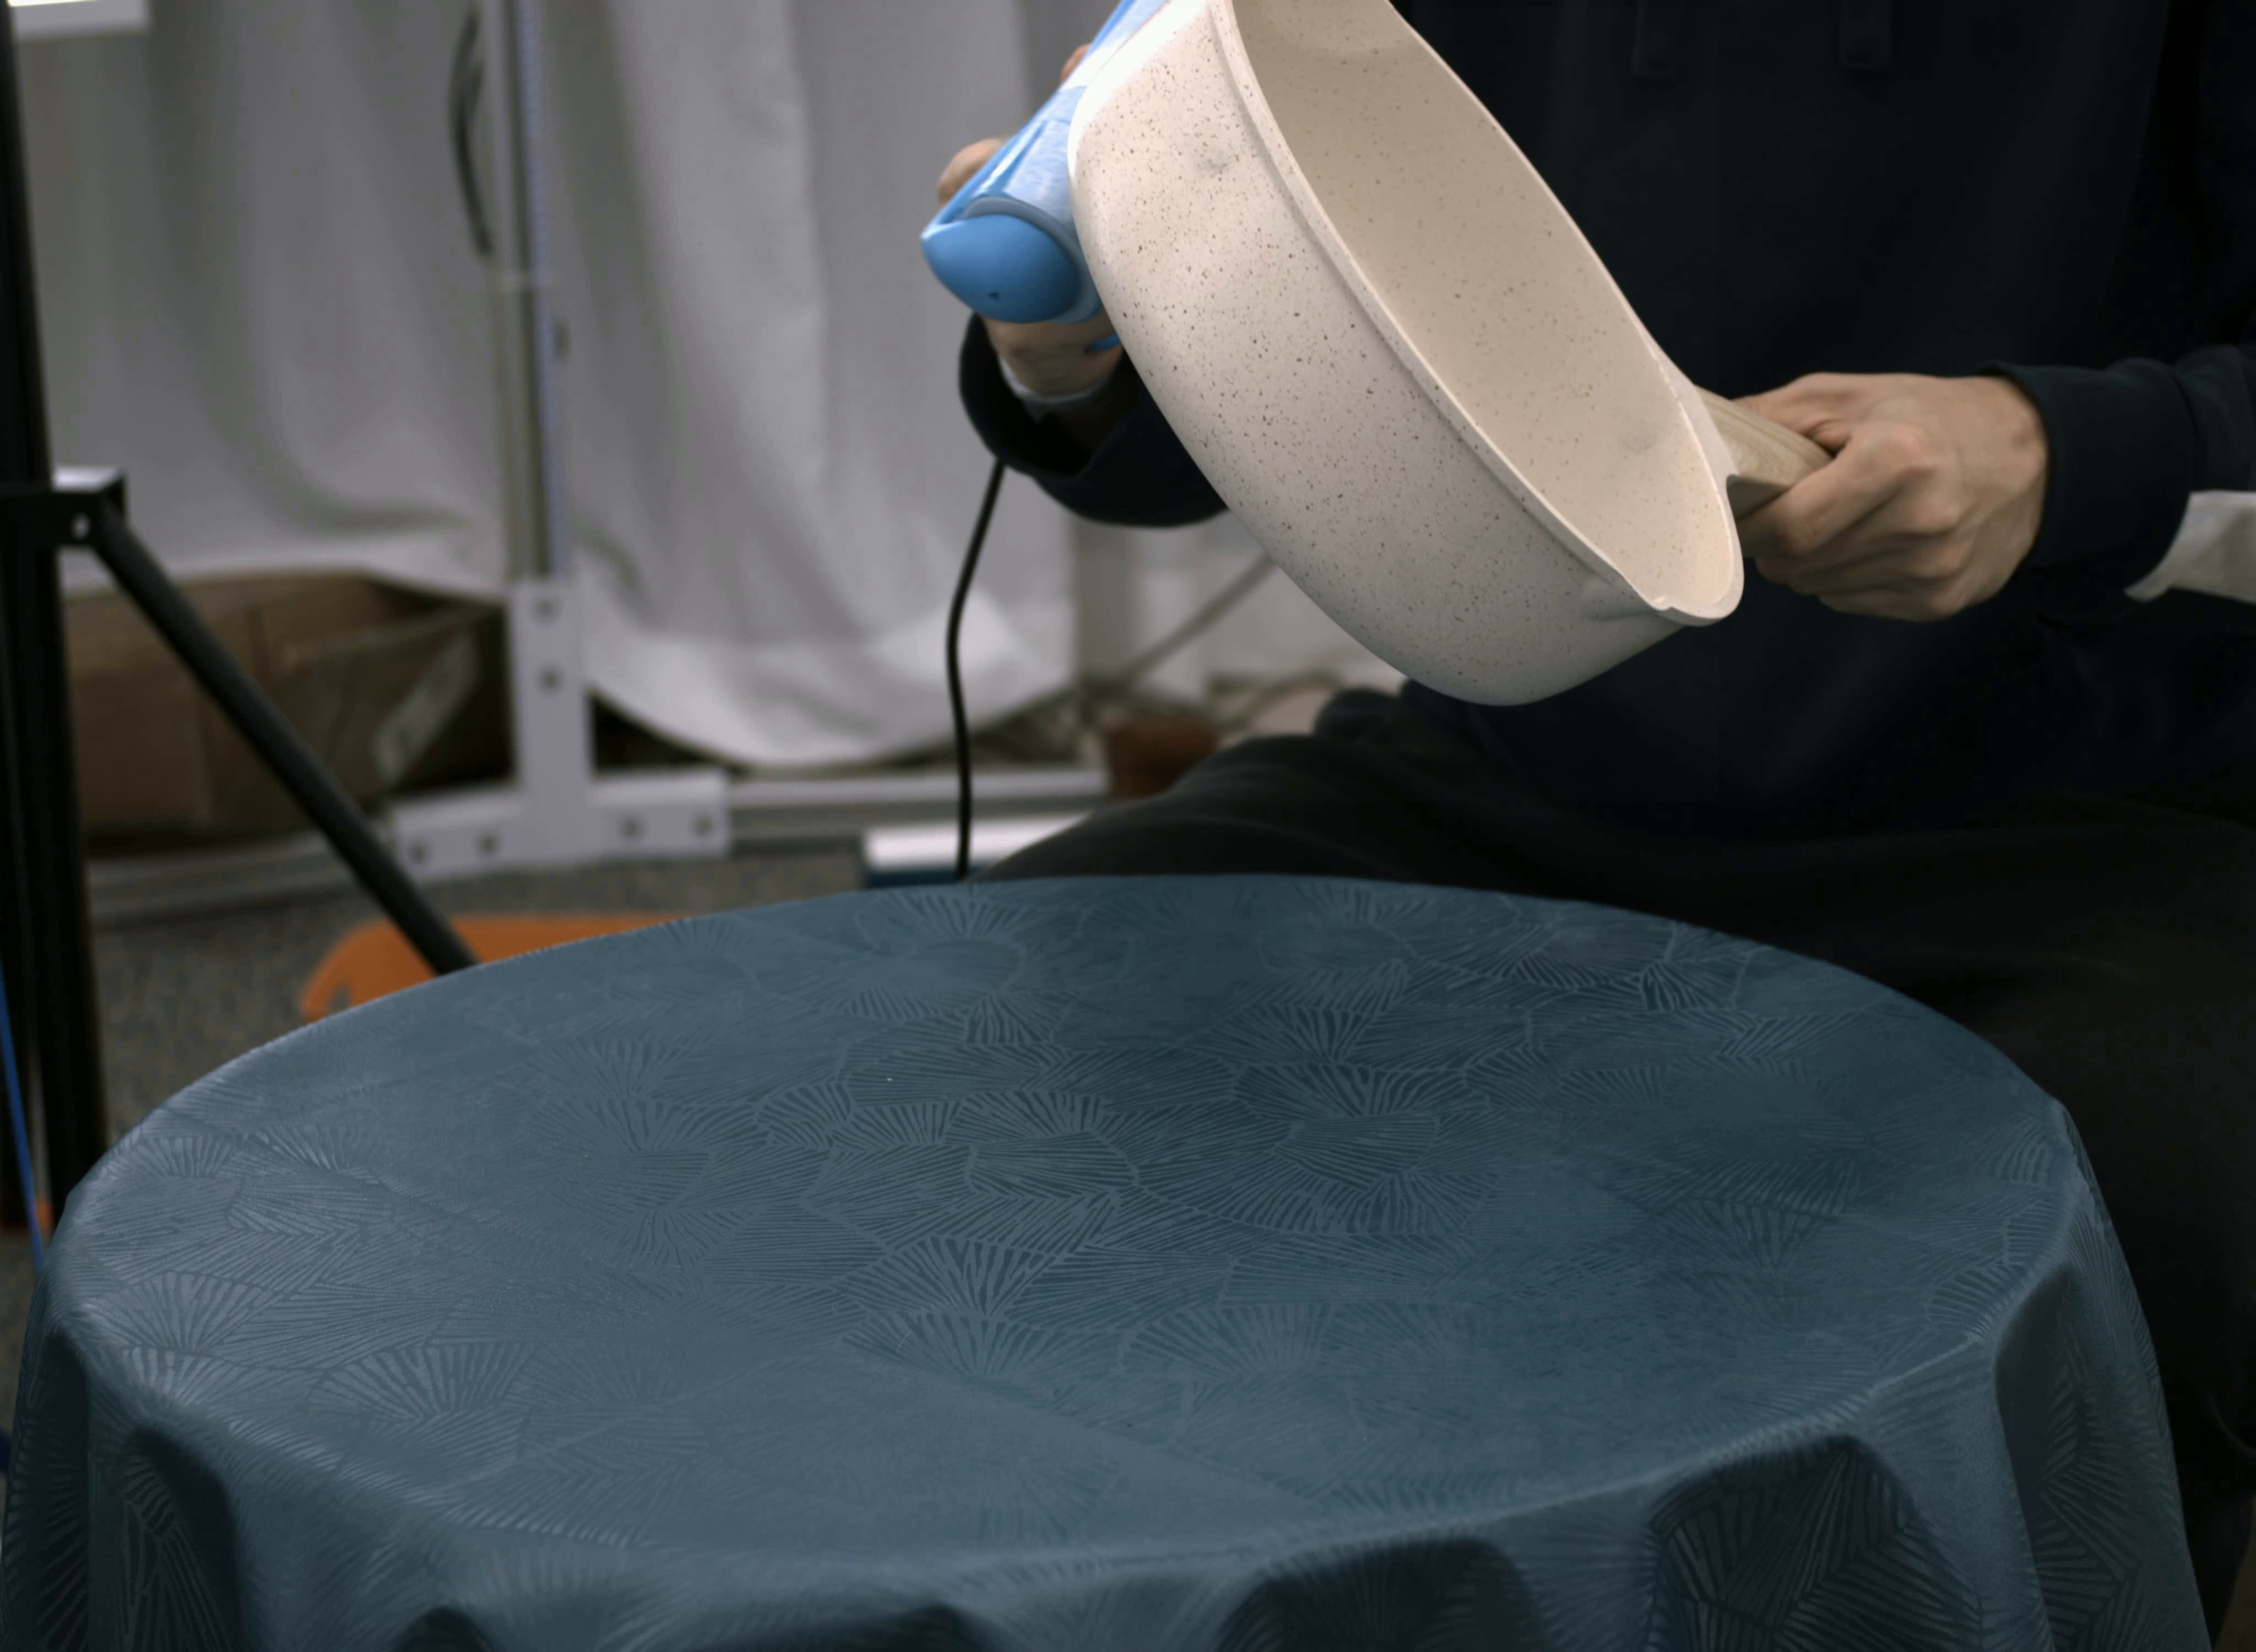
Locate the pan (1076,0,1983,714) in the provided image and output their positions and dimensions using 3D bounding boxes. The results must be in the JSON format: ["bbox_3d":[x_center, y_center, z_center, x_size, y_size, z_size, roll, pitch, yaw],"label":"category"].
[{"bbox_3d":[0.135,-0.121,1.651,0.103,0.268,0.424,-37,-34,20],"label":"pan"}]

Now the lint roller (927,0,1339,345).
[{"bbox_3d":[-0.004,-0.218,1.749,0.228,0.067,0.182,-56,4,-32],"label":"lint roller"}]
